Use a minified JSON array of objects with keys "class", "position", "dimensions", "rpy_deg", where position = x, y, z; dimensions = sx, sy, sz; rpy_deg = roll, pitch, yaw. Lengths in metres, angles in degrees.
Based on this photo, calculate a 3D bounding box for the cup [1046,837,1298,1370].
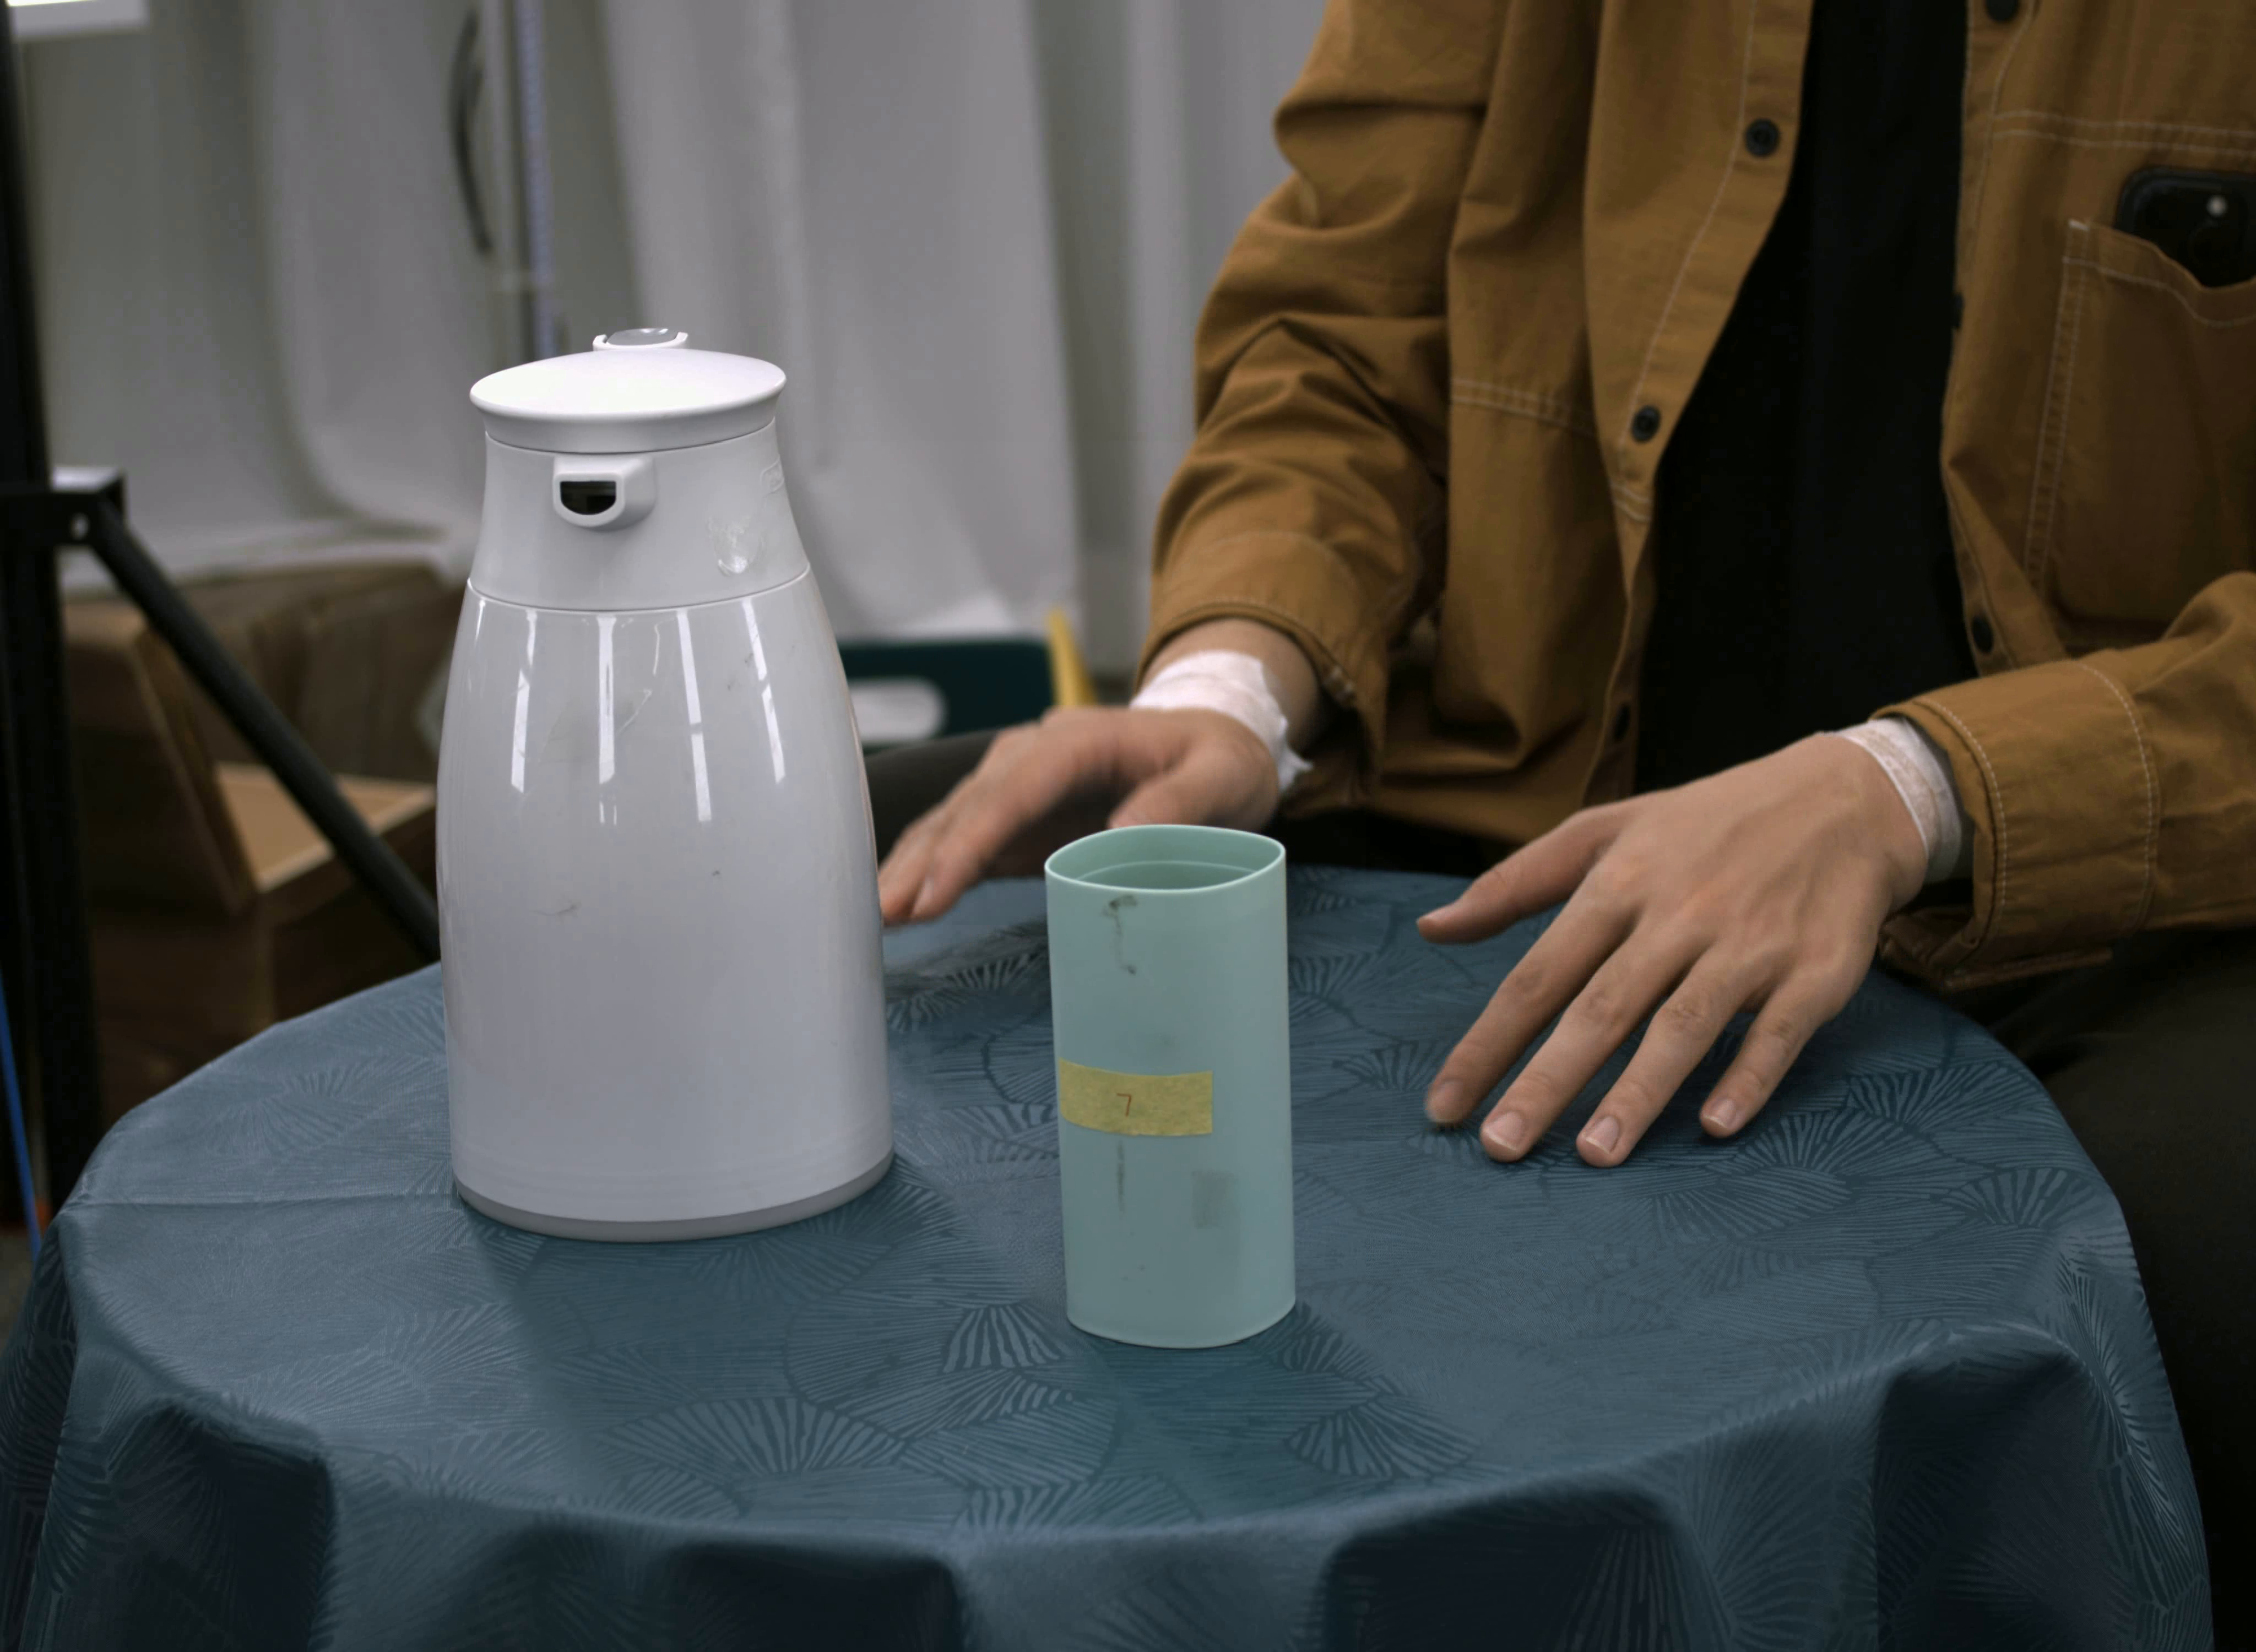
[{"class":"cup","position":[0.014,0.074,1.445],"dimensions":[0.066,0.132,0.067],"rpy_deg":[-2,15,-1]}]

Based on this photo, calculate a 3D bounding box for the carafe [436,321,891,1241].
[{"class":"carafe","position":[-0.139,-0.022,1.583],"dimensions":[0.132,0.248,0.167],"rpy_deg":[-1,15,6]}]
